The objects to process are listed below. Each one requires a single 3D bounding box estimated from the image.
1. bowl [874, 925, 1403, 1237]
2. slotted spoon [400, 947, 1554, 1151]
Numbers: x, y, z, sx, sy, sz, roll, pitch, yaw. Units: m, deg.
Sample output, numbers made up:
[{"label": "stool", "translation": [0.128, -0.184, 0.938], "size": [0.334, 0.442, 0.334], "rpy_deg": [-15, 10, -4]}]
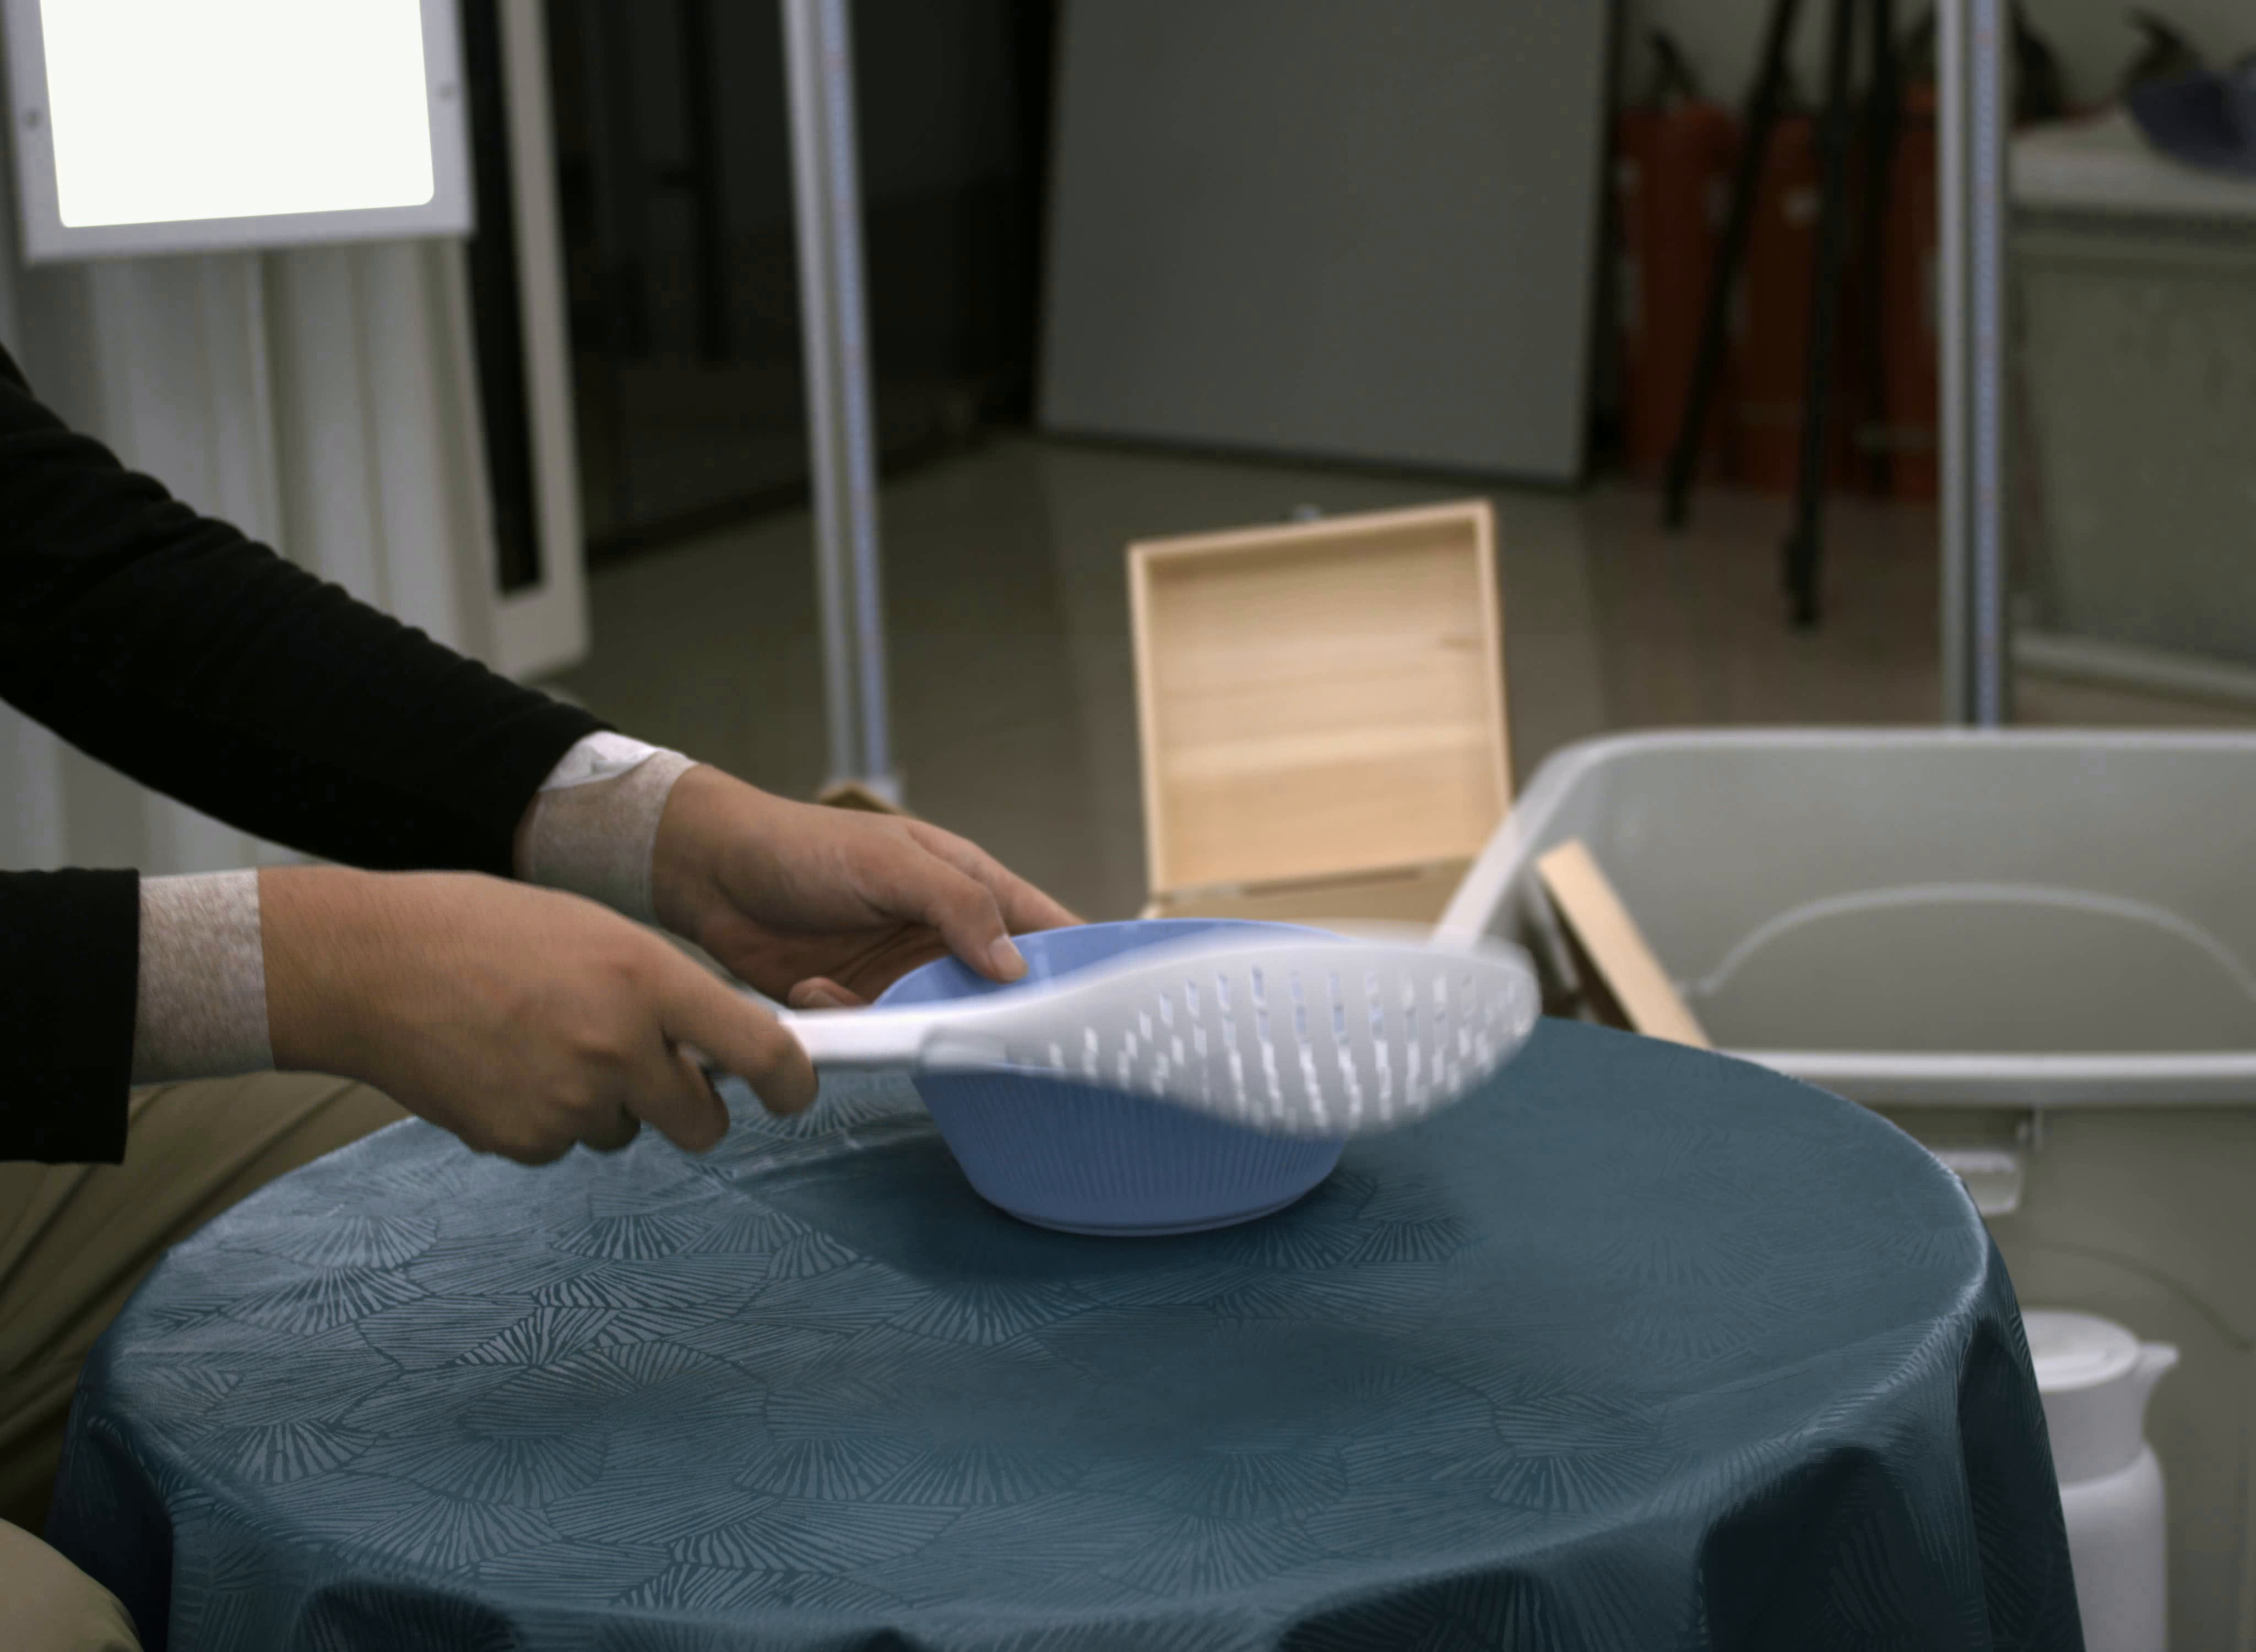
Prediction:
[{"label": "bowl", "translation": [0.006, 0.085, 1.767], "size": [0.174, 0.071, 0.176], "rpy_deg": [-5, 13, 0]}, {"label": "slotted spoon", "translation": [-0.047, 0.066, 1.599], "size": [0.347, 0.046, 0.135], "rpy_deg": [2, -16, 12]}]
